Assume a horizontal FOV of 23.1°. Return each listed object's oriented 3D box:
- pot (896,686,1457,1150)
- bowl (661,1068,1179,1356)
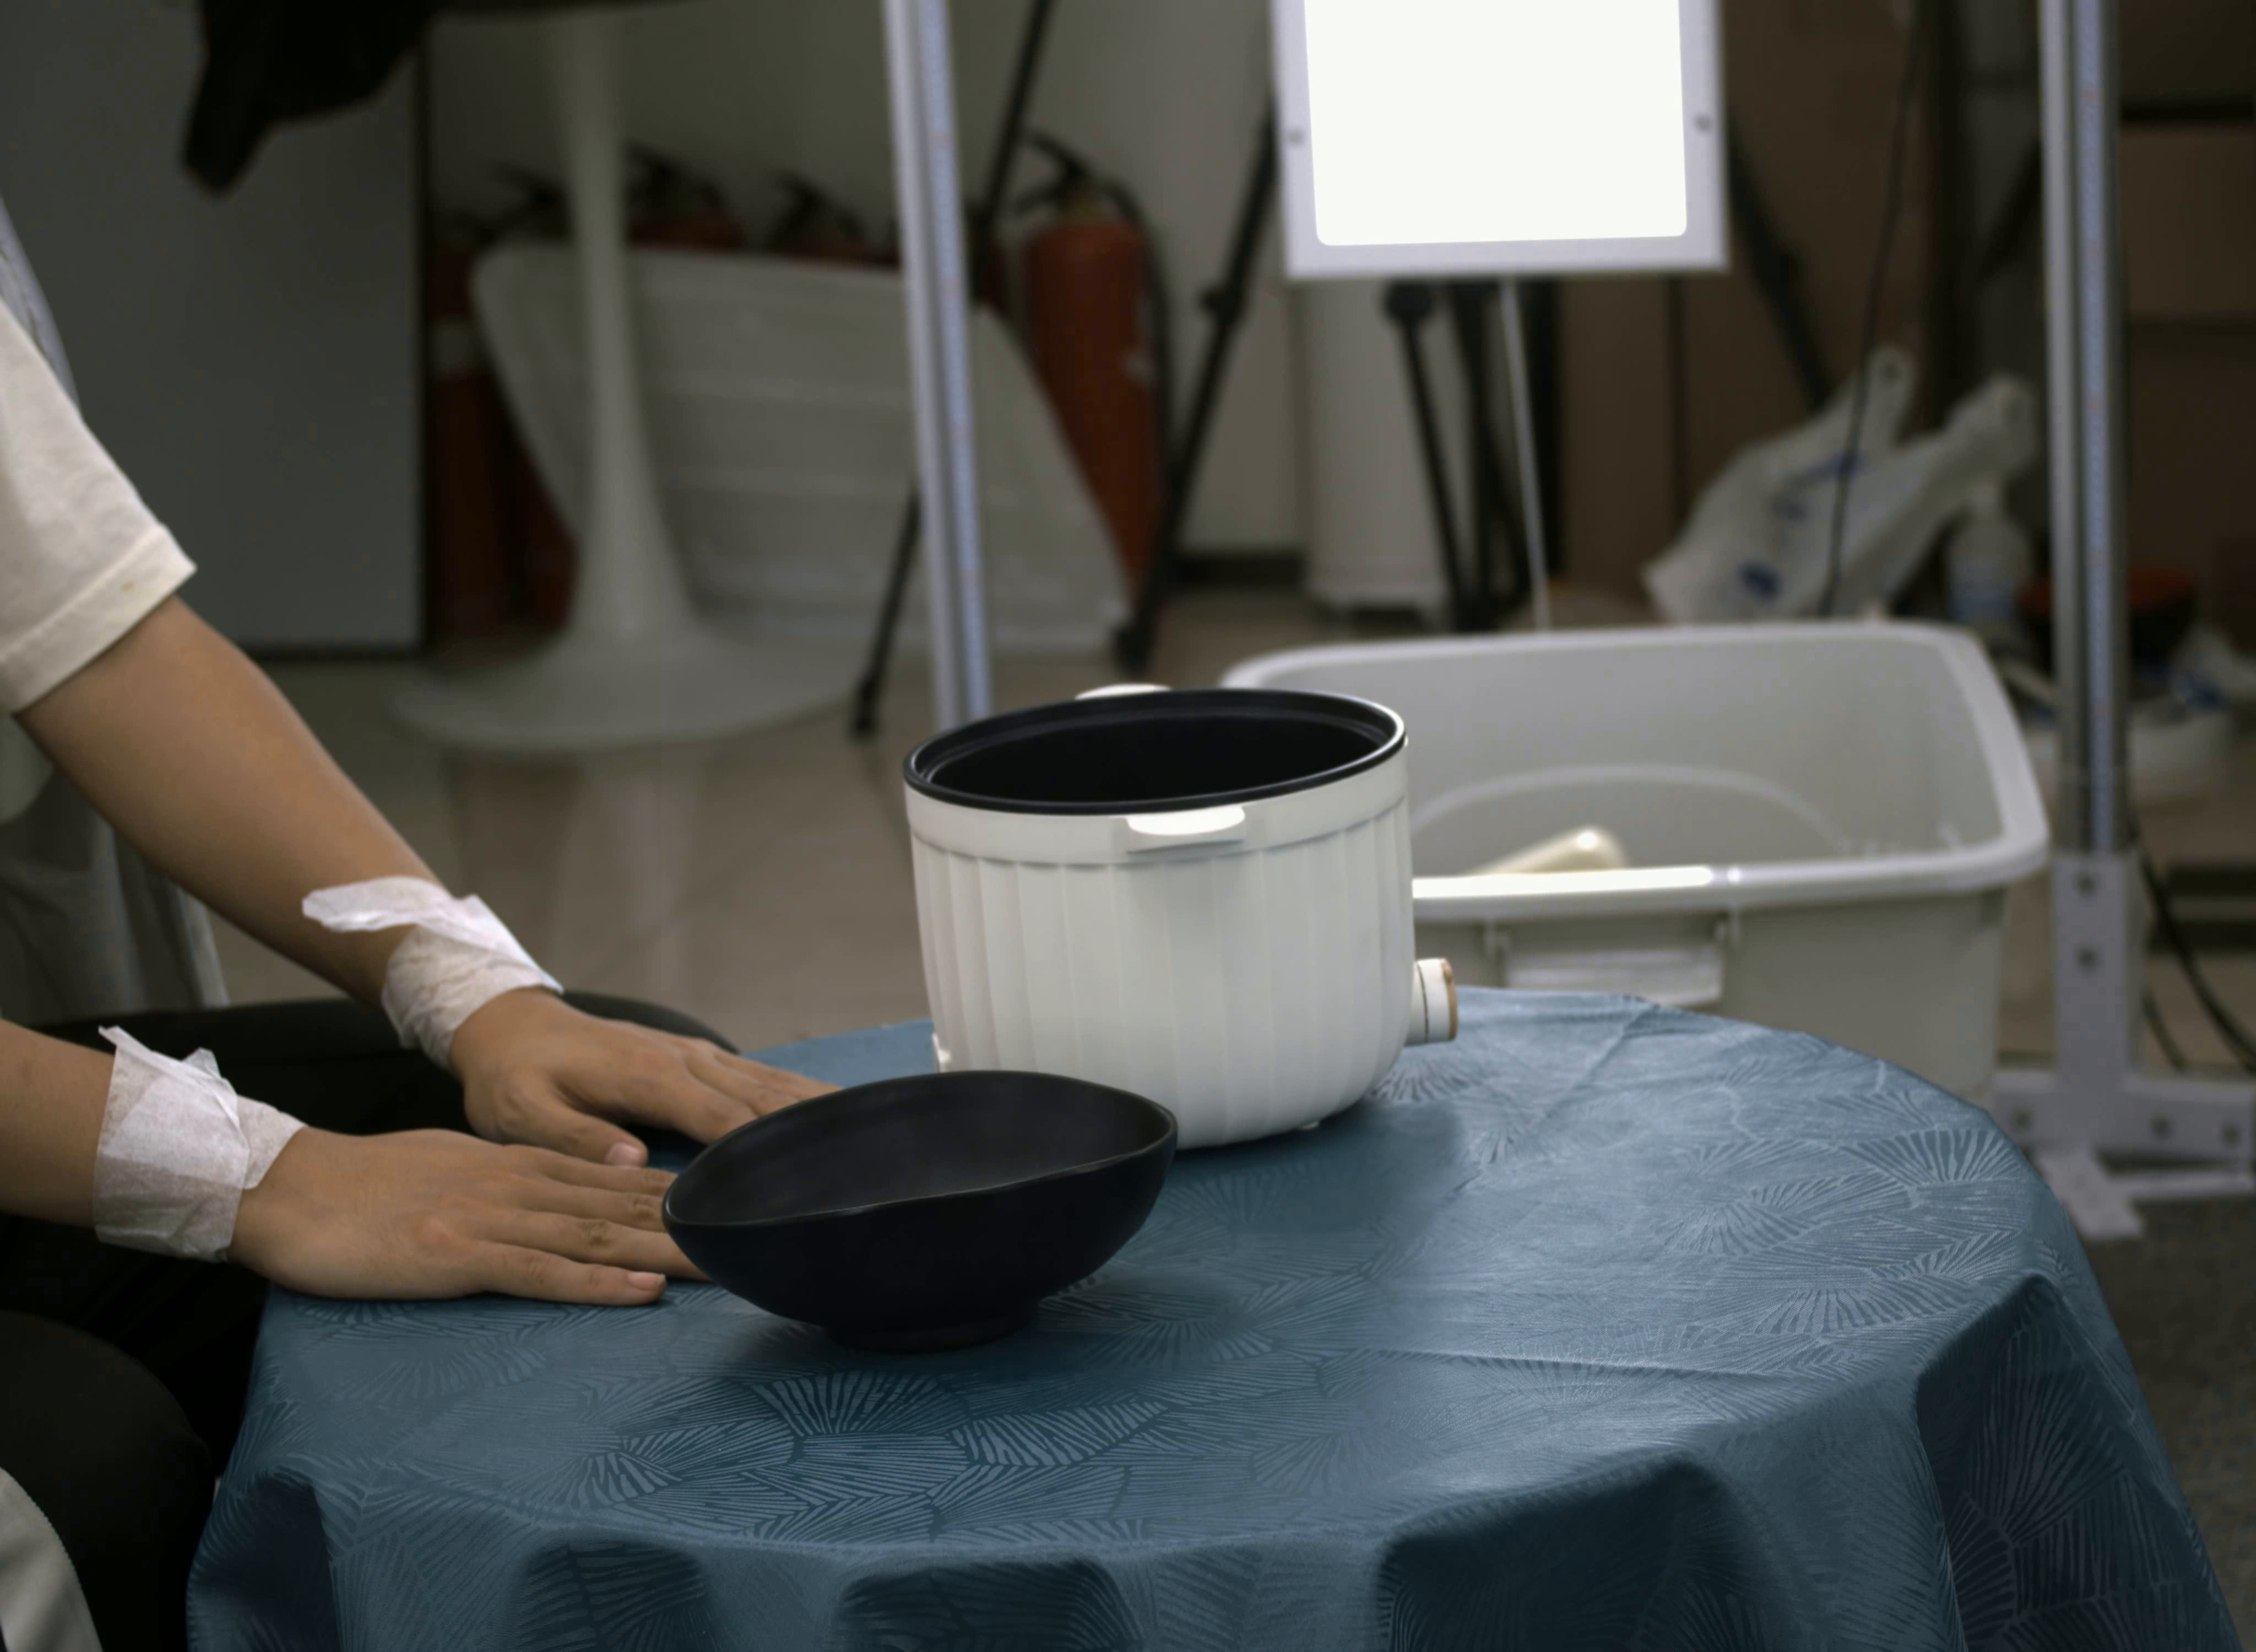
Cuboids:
[{"bbox_3d":[0.019,0.034,1.978,0.189,0.143,0.241,-9,15,-4],"label":"pot"},{"bbox_3d":[-0.064,0.129,1.773,0.168,0.067,0.138,-9,13,-13],"label":"bowl"}]
